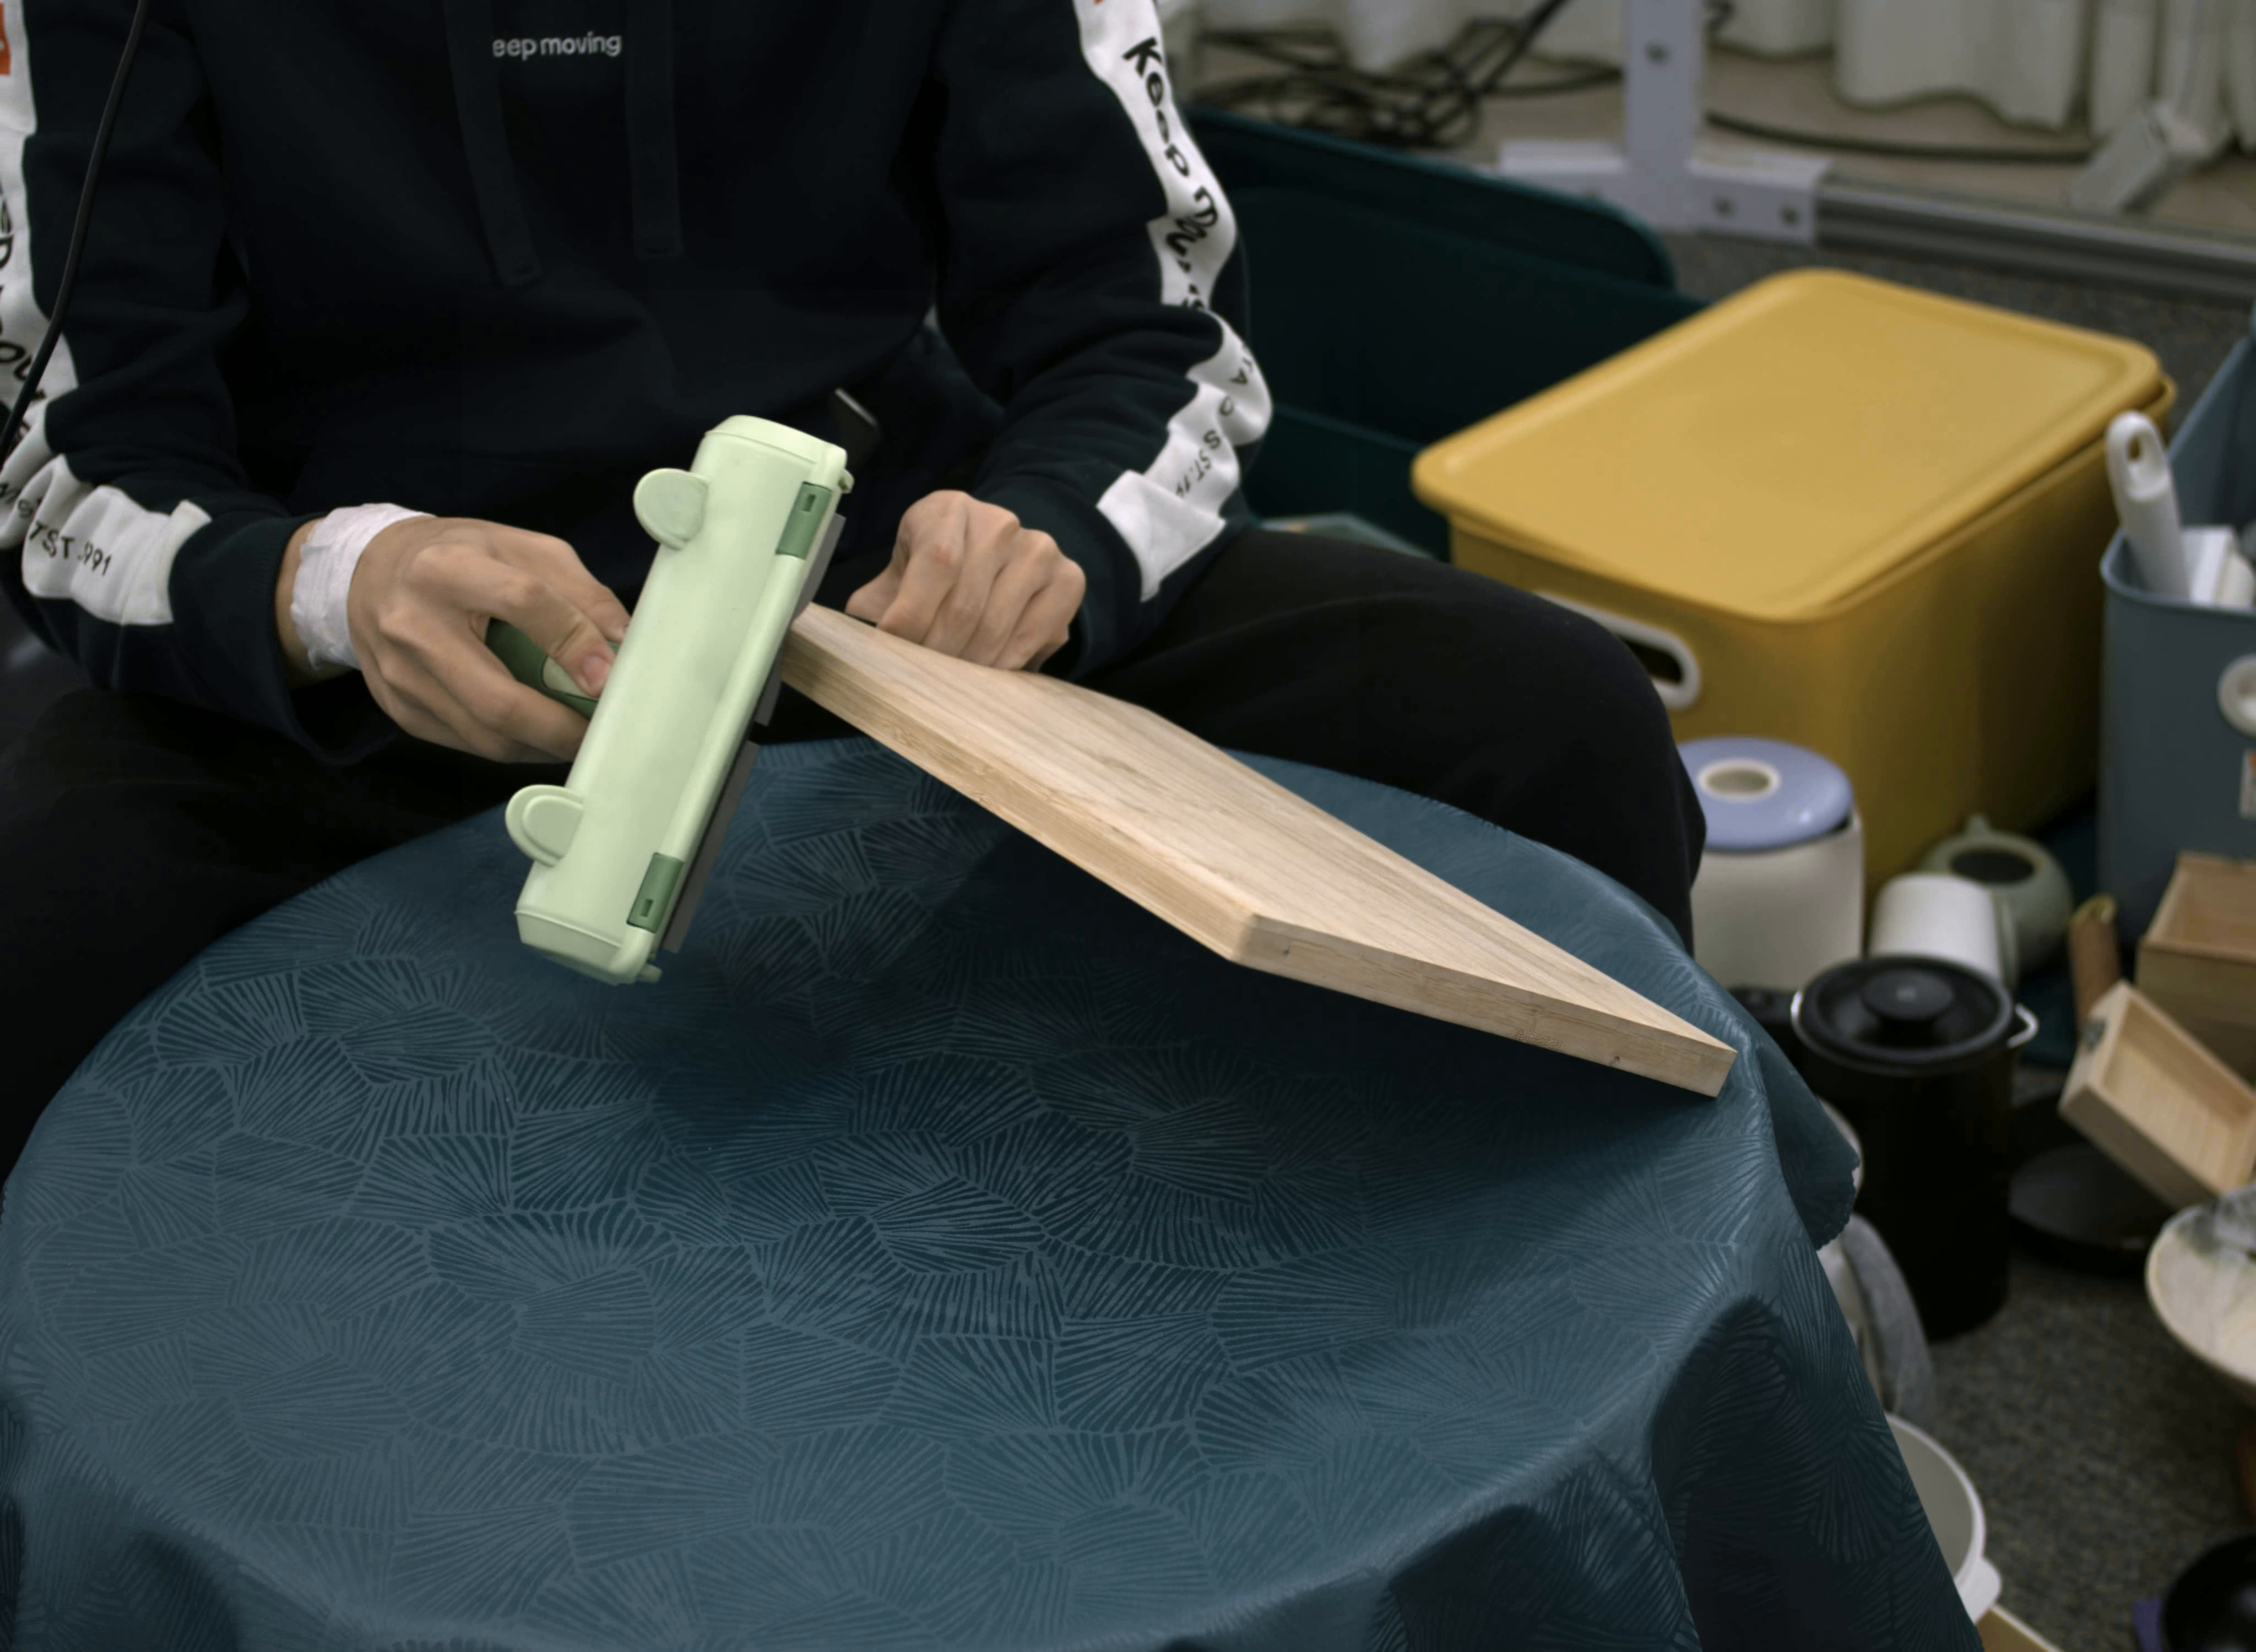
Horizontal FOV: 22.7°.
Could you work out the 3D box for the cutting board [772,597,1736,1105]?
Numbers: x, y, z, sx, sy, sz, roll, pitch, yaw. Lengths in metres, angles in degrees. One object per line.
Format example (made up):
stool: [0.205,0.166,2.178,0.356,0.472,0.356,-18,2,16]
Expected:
cutting board: [0.017,-0.001,1.942,0.250,0.023,0.349,18,9,-43]

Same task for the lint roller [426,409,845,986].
lint roller: [-0.196,-0.056,1.933,0.182,0.200,0.082,13,-12,39]
